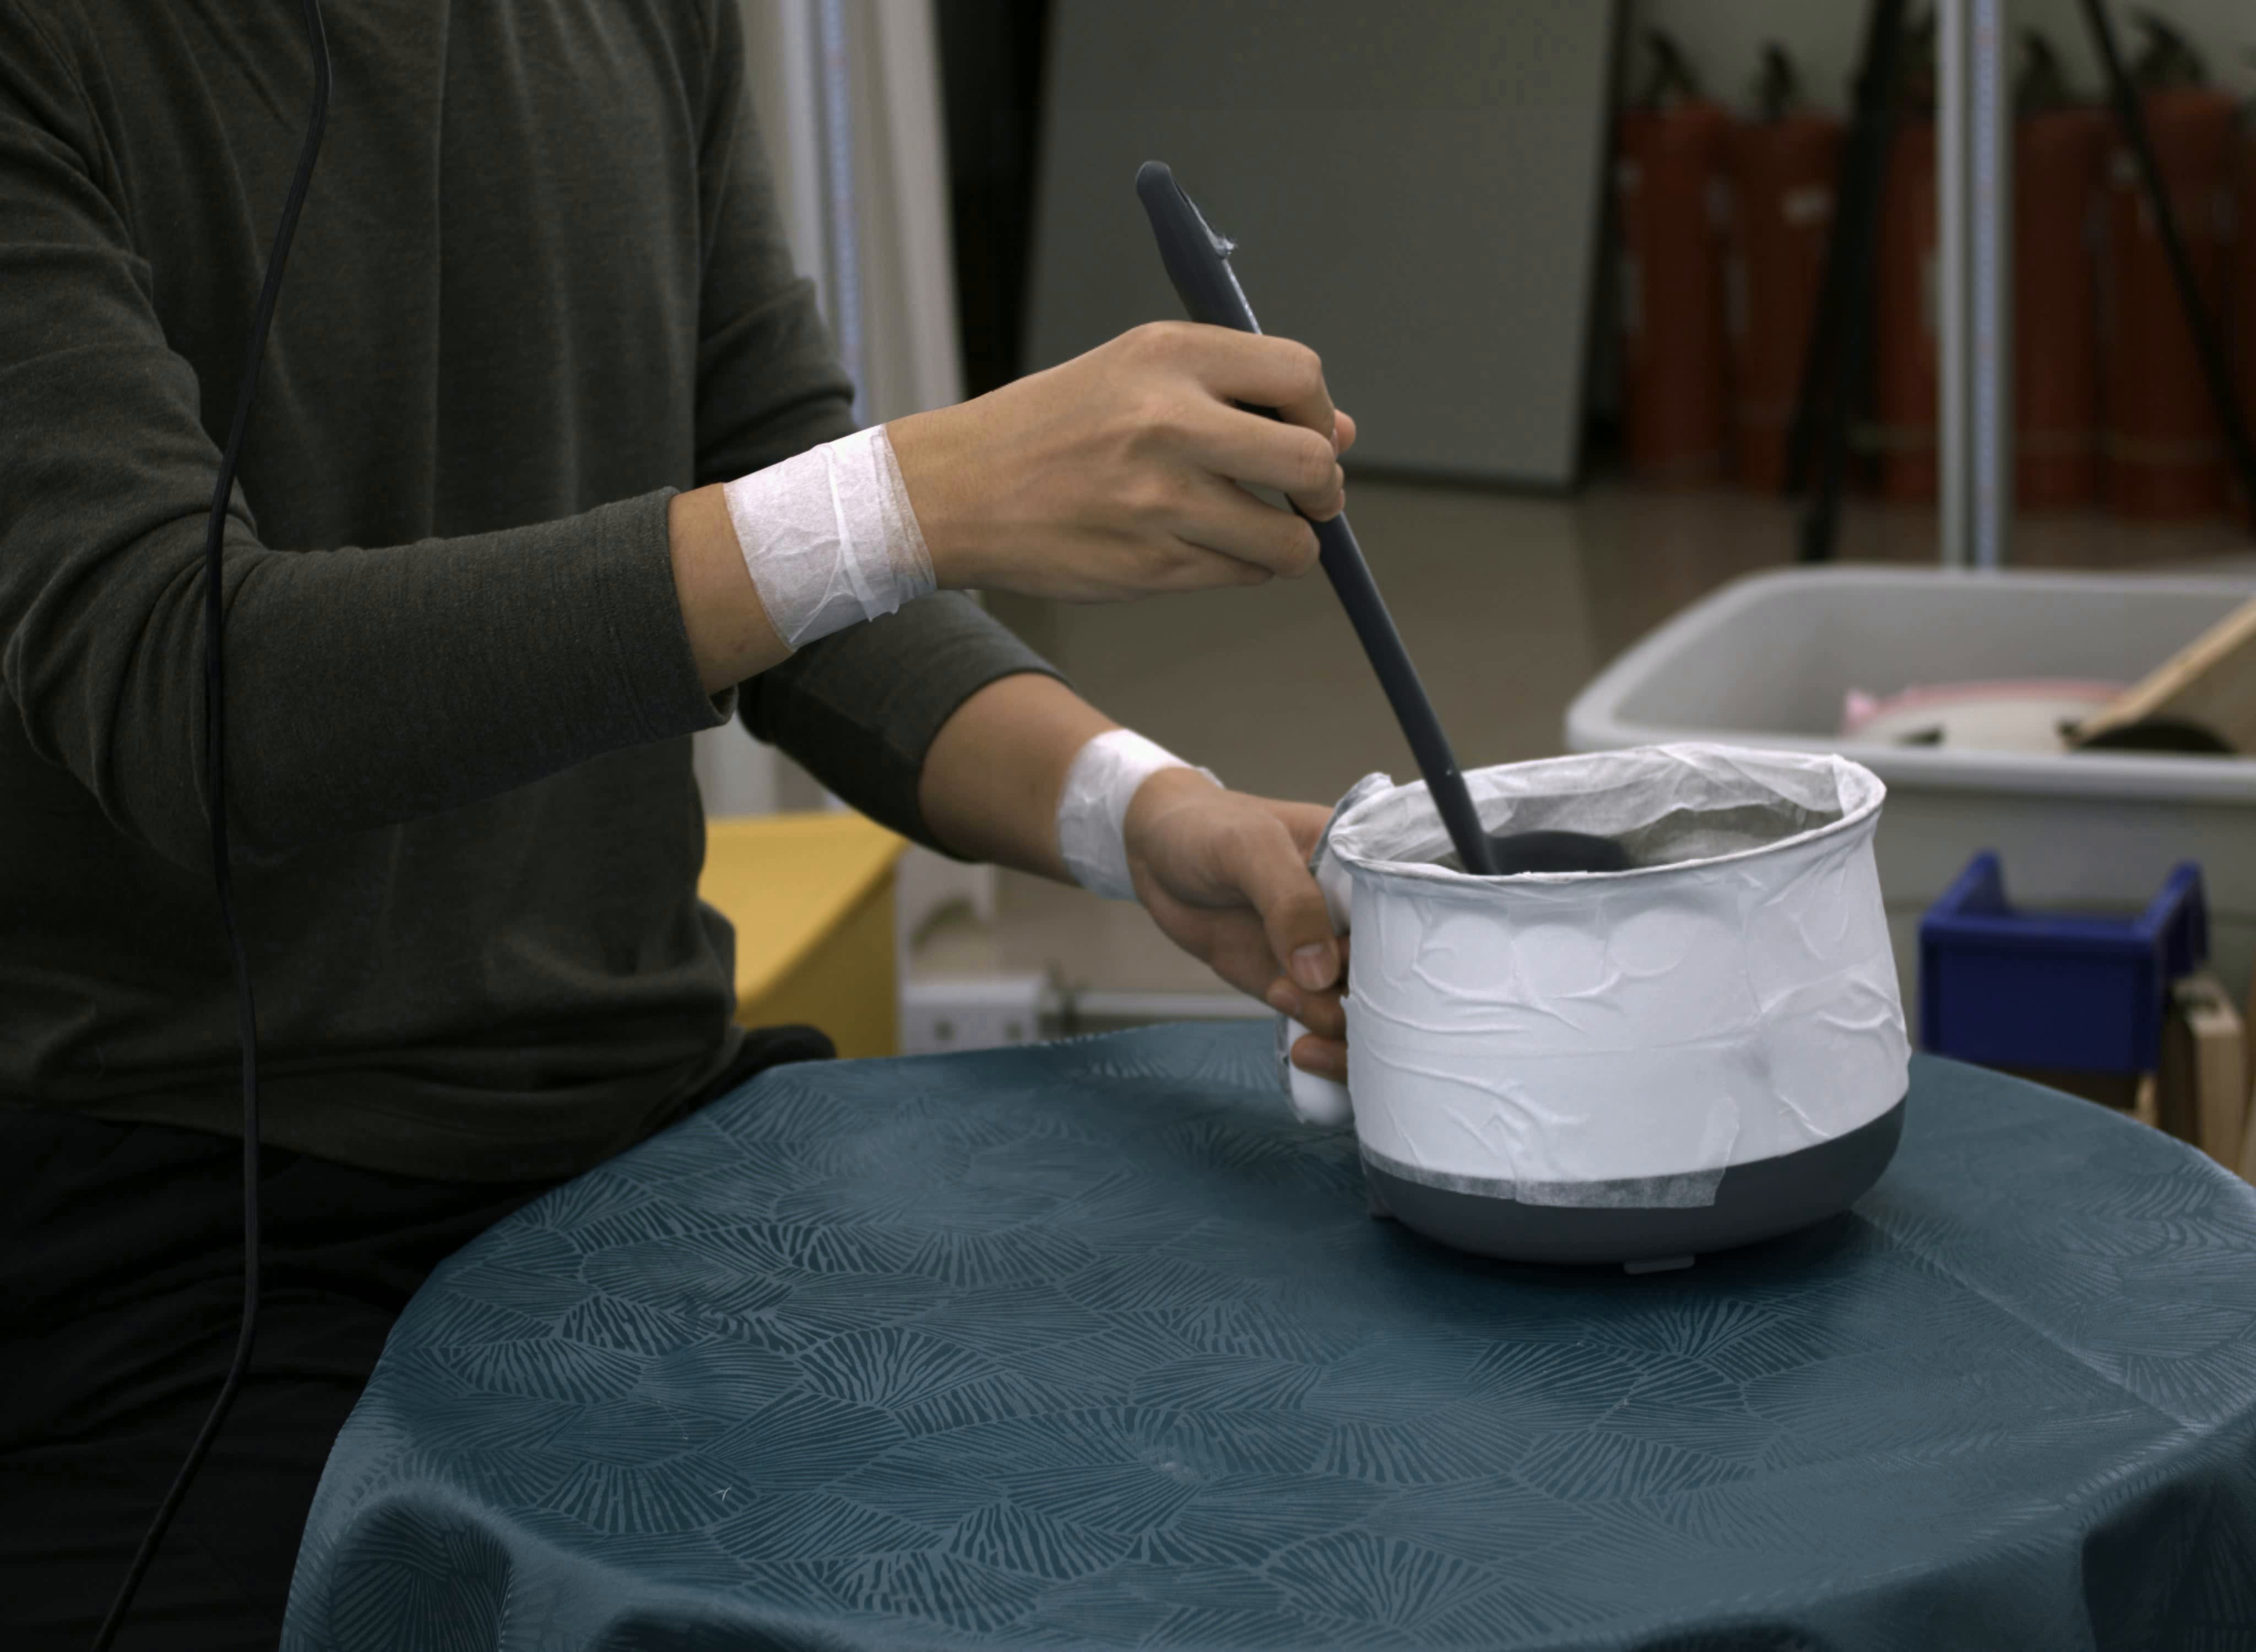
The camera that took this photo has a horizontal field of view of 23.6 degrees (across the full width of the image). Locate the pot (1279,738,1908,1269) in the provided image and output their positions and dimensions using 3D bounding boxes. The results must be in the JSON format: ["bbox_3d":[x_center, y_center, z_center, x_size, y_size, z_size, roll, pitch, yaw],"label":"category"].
[{"bbox_3d":[0.136,0.052,1.716,0.236,0.138,0.175,5,15,45],"label":"pot"}]

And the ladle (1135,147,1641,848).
[{"bbox_3d":[0.094,-0.081,1.663,0.063,0.314,0.086,-26,20,4],"label":"ladle"}]
